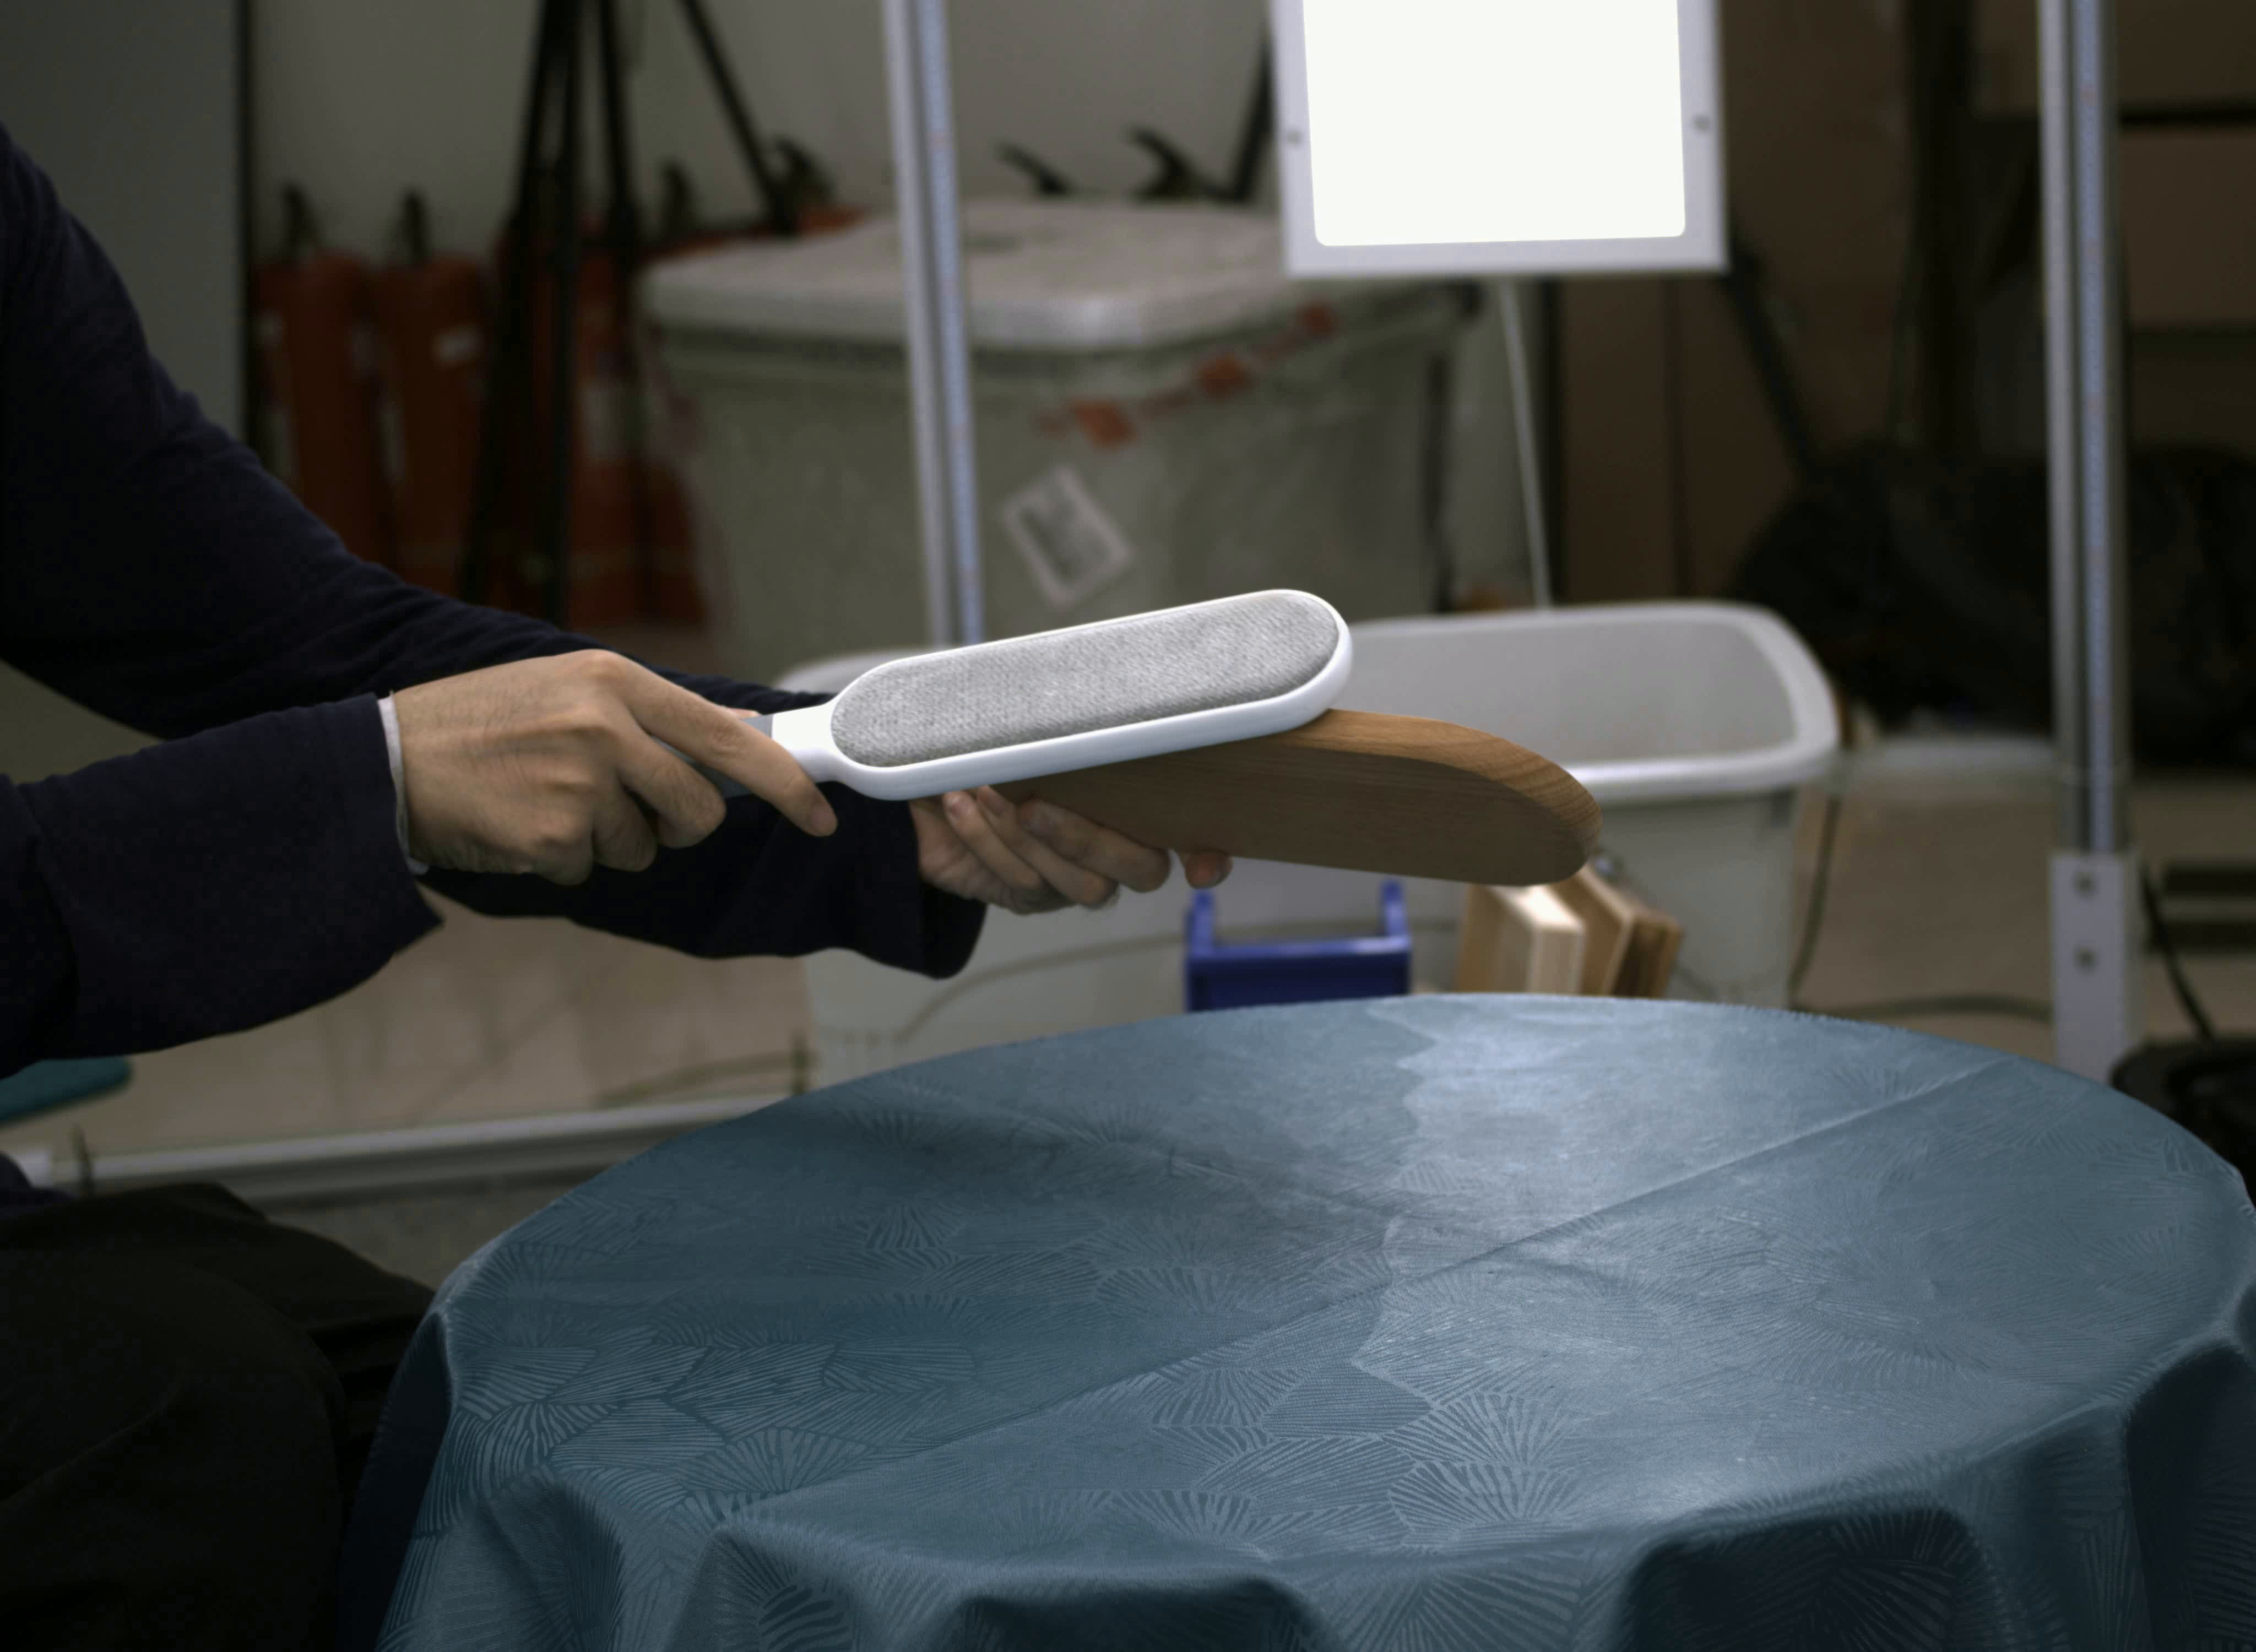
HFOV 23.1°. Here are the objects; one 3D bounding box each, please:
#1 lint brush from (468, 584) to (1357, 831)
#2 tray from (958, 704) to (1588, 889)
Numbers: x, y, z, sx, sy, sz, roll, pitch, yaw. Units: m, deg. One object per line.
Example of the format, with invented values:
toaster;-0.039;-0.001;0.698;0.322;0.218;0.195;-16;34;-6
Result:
lint brush;-0.074;-0.036;1.844;0.311;0.021;0.060;-10;49;12
tray;0.045;-0.014;1.865;0.235;0.020;0.101;6;-27;26
